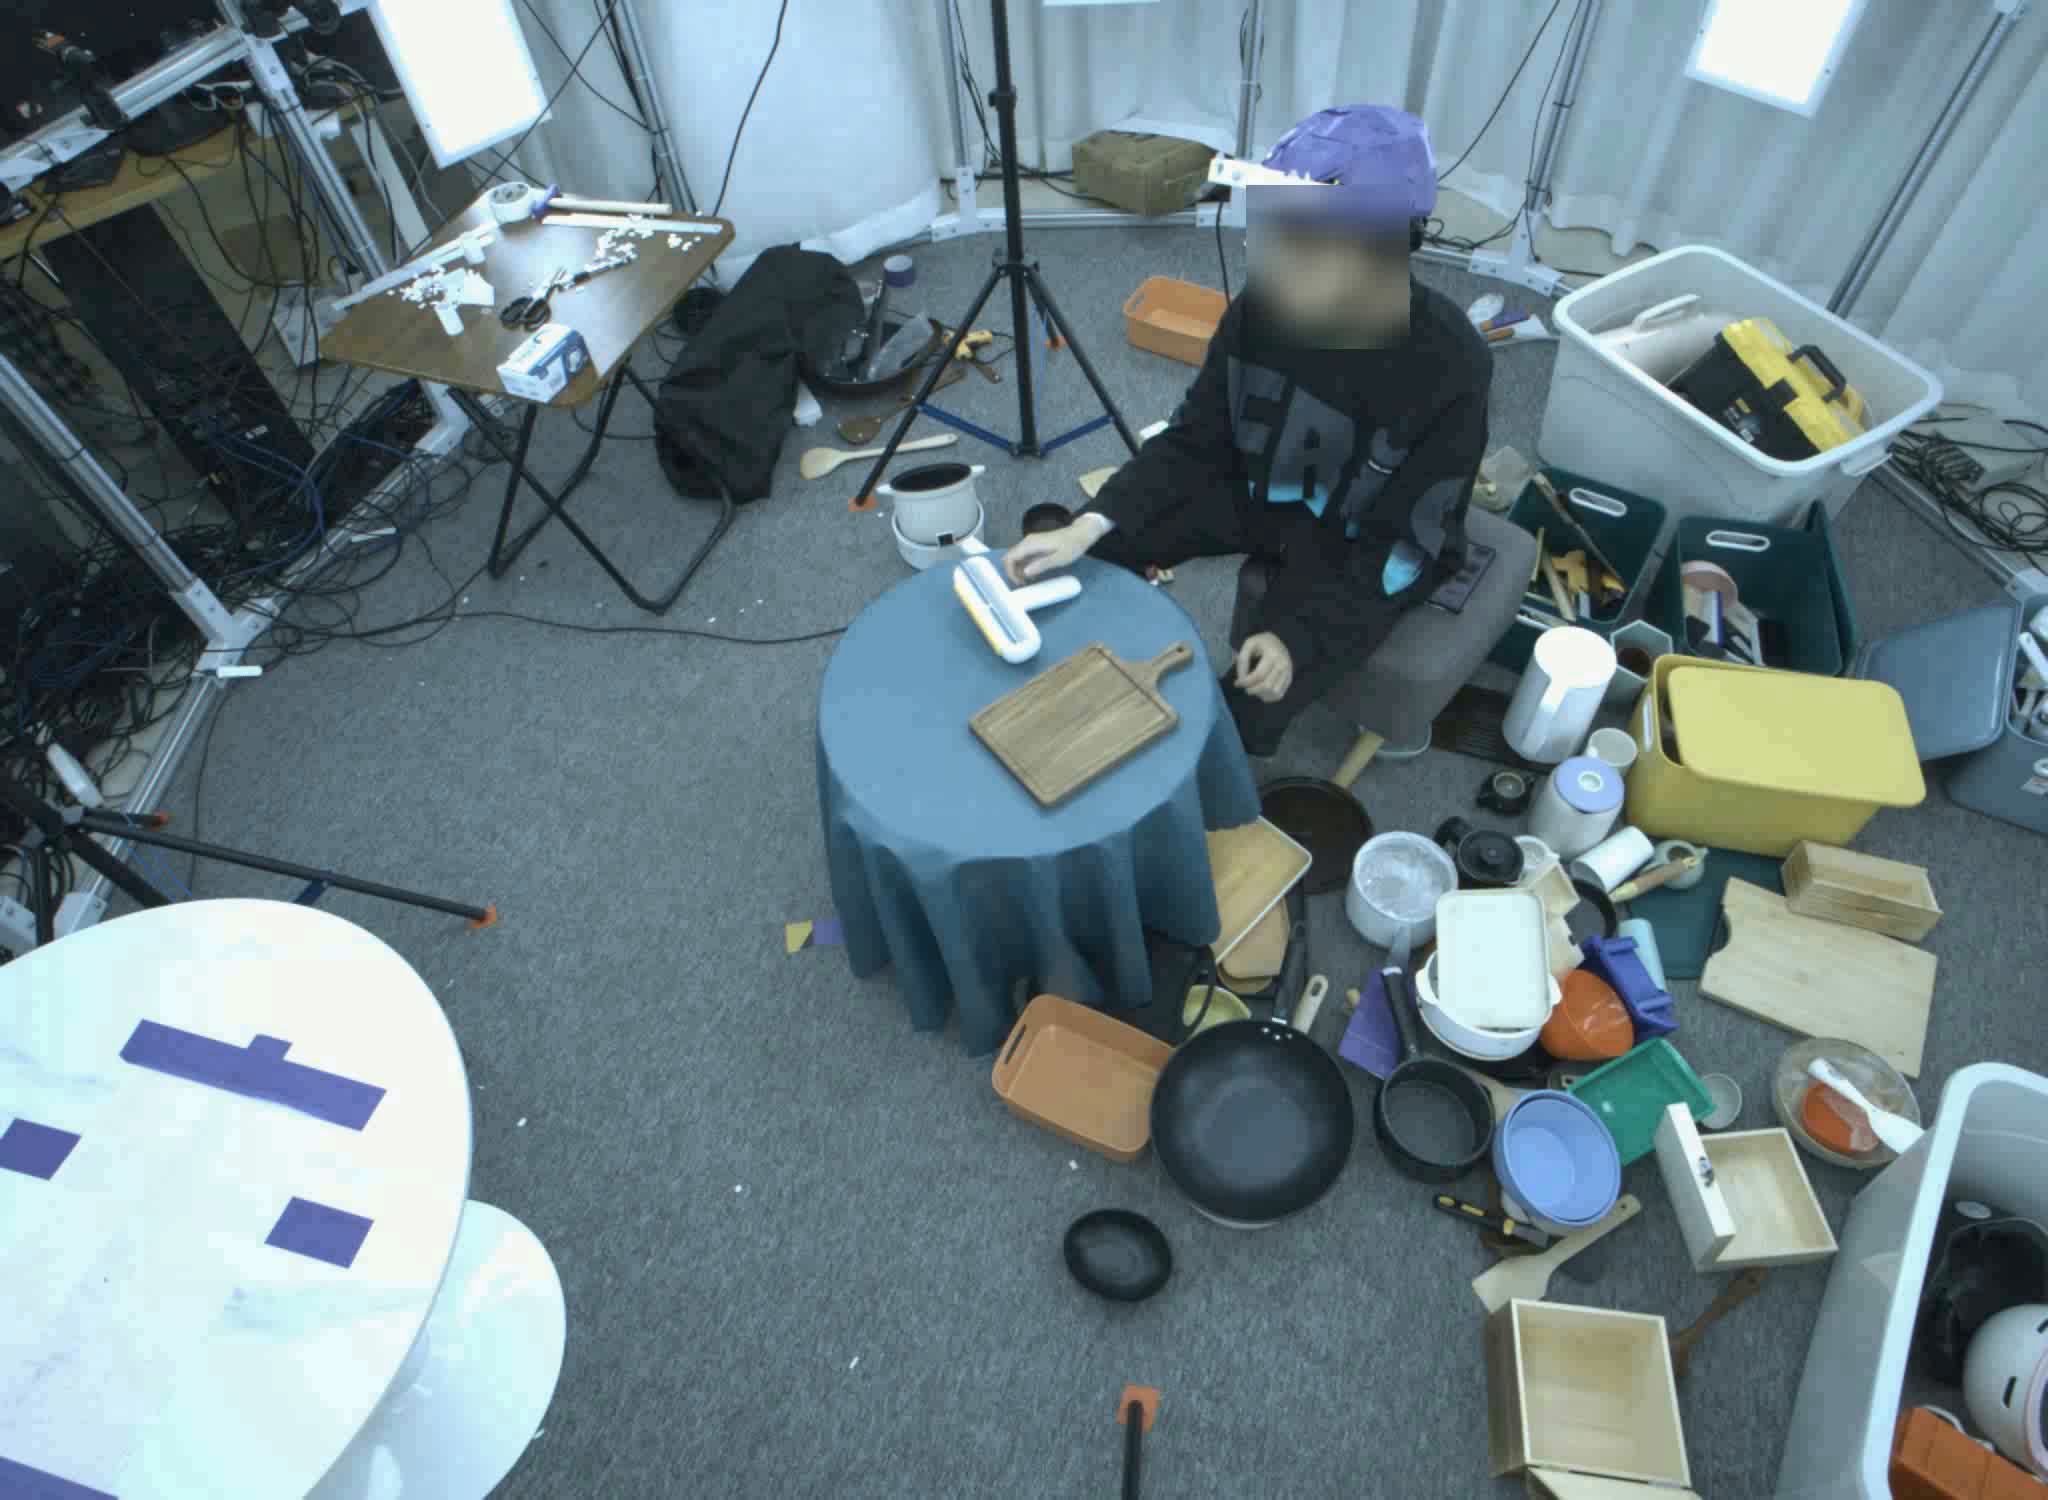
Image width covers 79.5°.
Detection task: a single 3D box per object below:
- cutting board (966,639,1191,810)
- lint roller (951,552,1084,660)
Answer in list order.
[{"bbox_3d":[0.110,-0.067,1.815,0.355,0.023,0.197,-33,59,-20],"label":"cutting board"},{"bbox_3d":[0.005,-0.240,1.912,0.194,0.075,0.189,-23,62,-16],"label":"lint roller"}]
